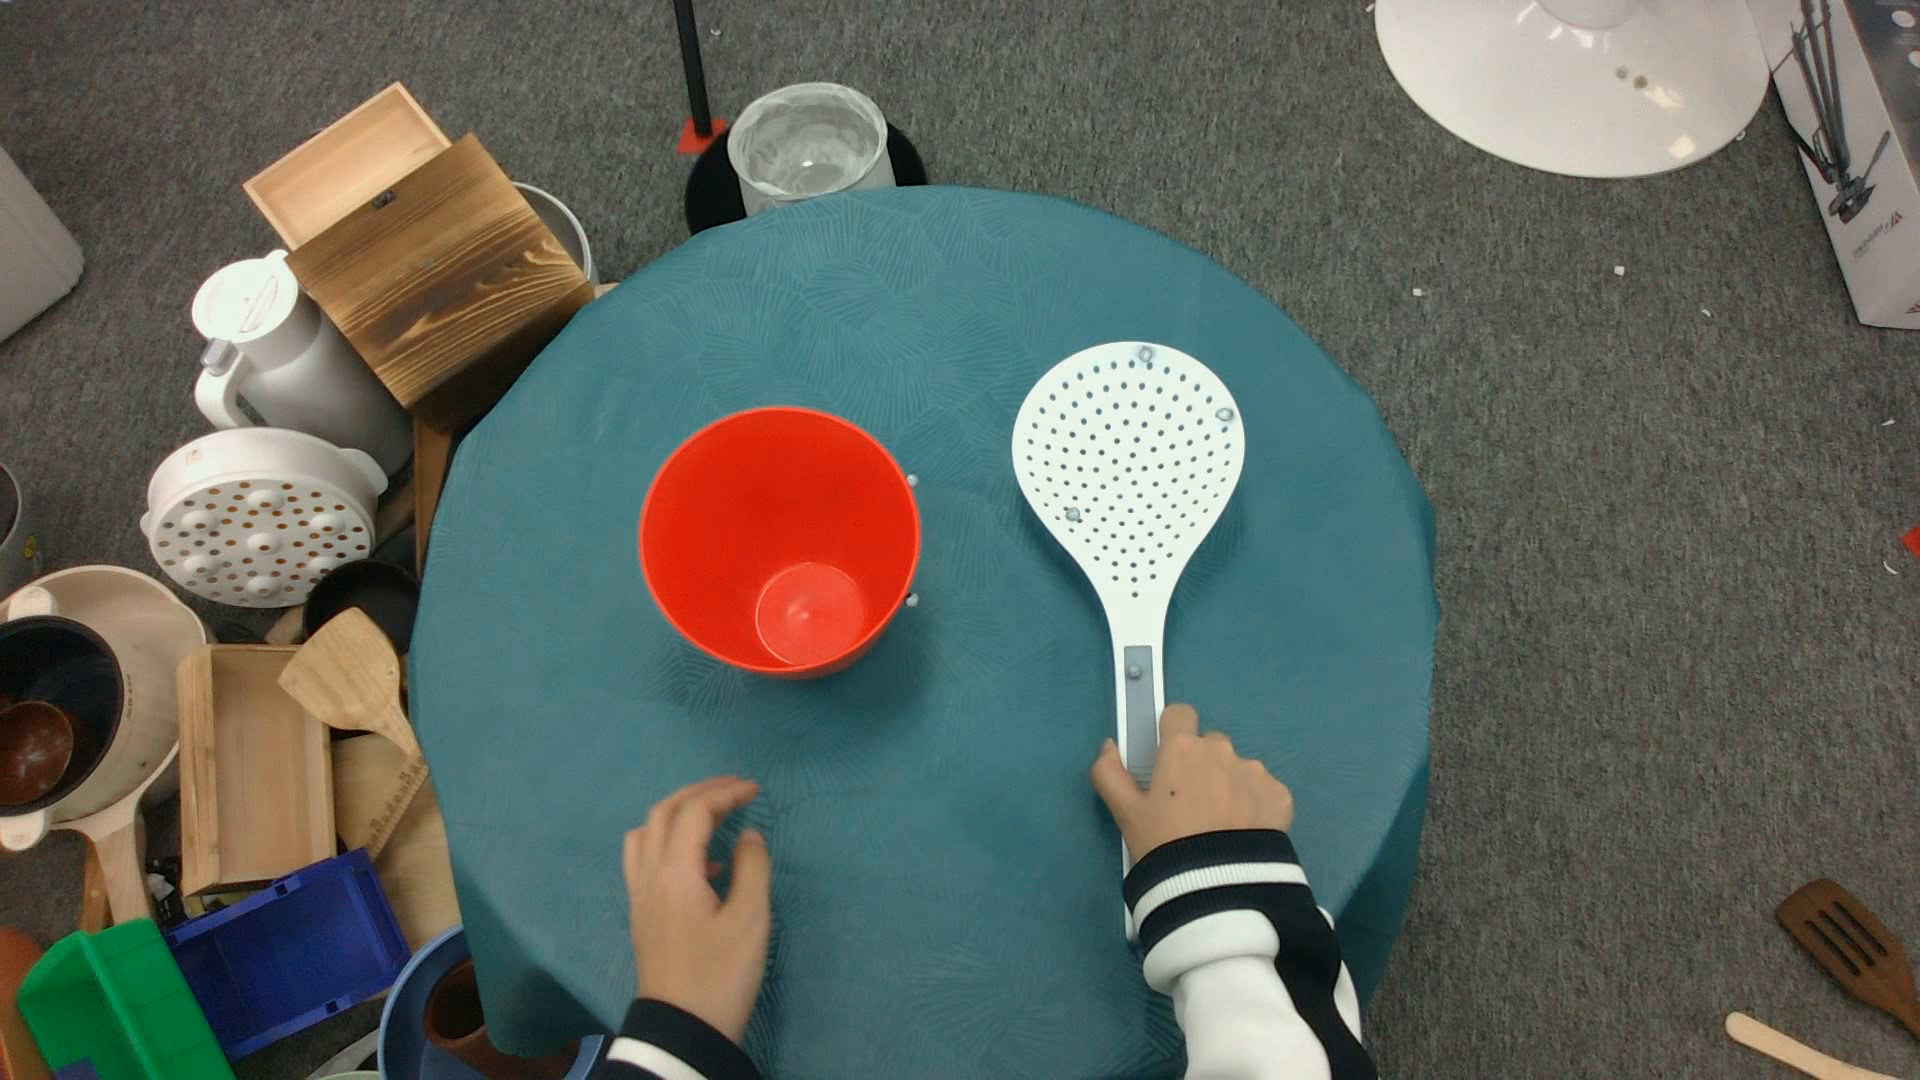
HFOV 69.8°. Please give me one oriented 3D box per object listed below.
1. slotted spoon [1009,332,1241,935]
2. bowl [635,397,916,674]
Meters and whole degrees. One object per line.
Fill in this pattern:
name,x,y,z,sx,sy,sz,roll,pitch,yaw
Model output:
slotted spoon,0.097,0.041,0.776,0.136,0.045,0.351,-2,63,6
bowl,-0.098,0.010,0.763,0.148,0.104,0.148,1,62,-2
